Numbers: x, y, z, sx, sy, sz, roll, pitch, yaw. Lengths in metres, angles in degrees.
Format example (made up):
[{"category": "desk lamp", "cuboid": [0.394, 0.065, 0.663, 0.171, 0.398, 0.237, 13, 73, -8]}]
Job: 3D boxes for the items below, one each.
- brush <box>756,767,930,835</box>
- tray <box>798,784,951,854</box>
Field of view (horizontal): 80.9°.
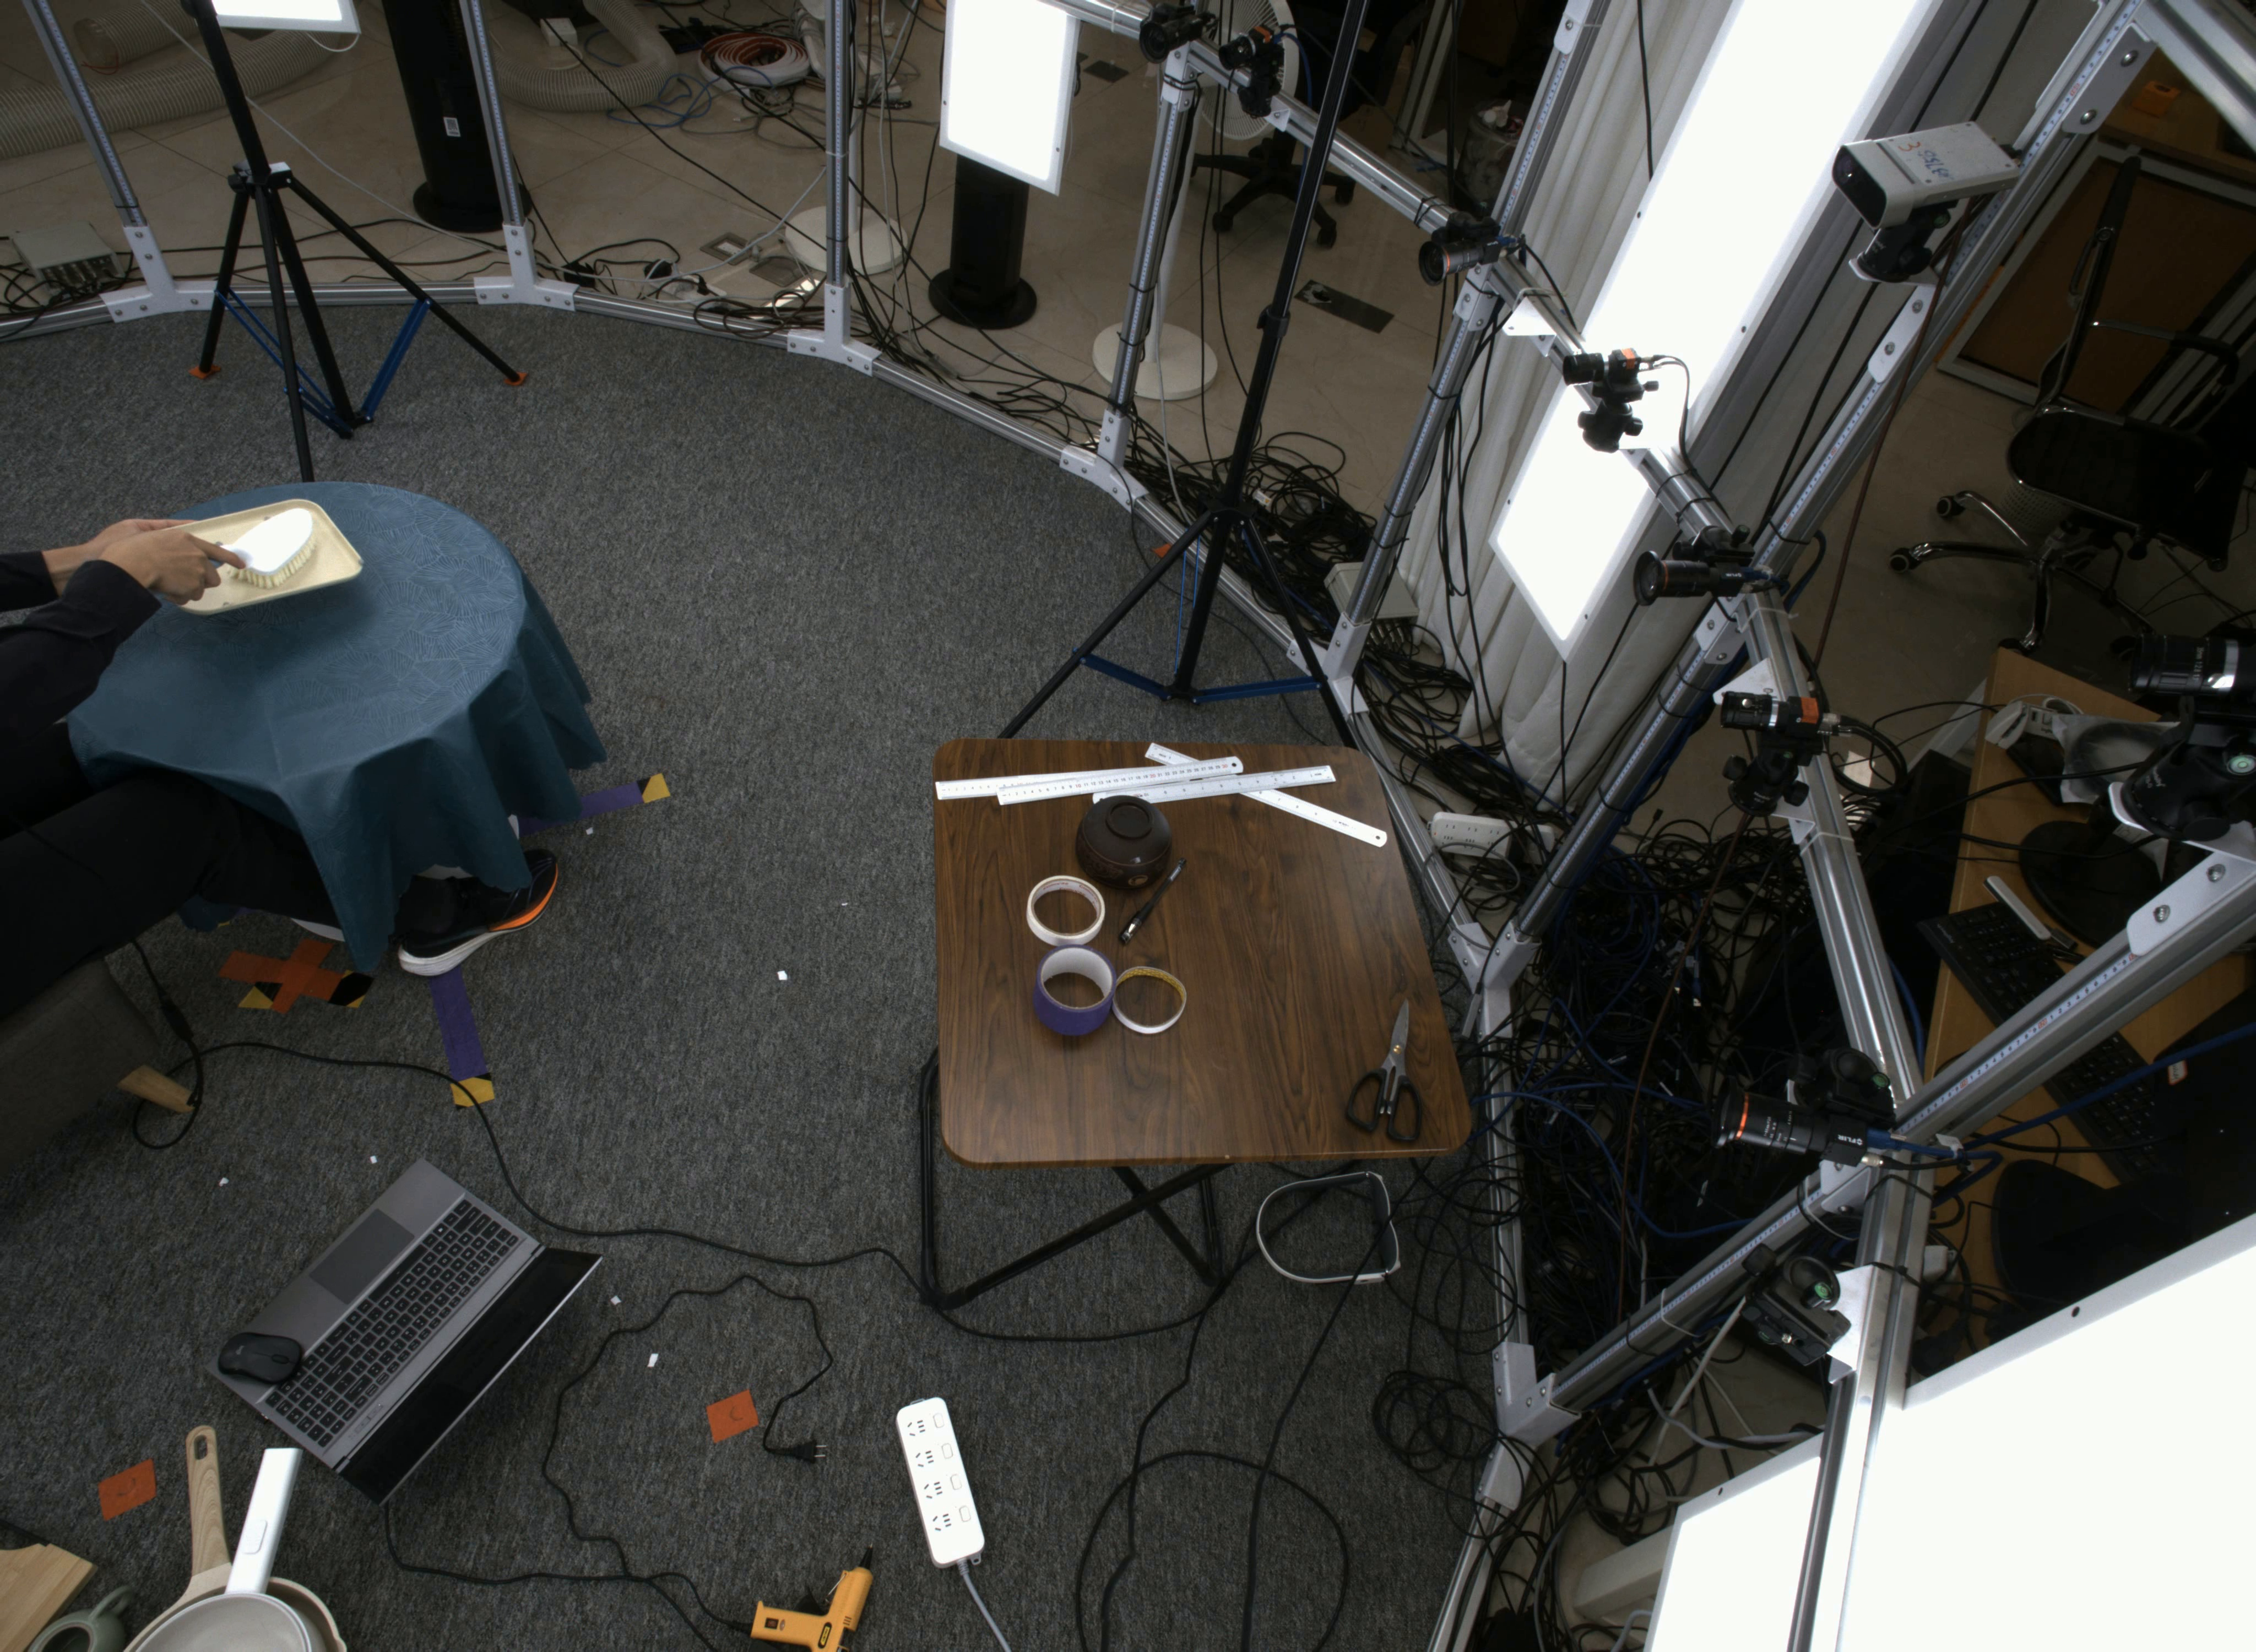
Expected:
[{"category": "brush", "cuboid": [-0.438, -0.030, 1.975, 0.081, 0.085, 0.333, -8, -8, 38]}, {"category": "tray", "cuboid": [-0.402, -0.016, 2.056, 0.242, 0.018, 0.166, 10, 28, -20]}]
